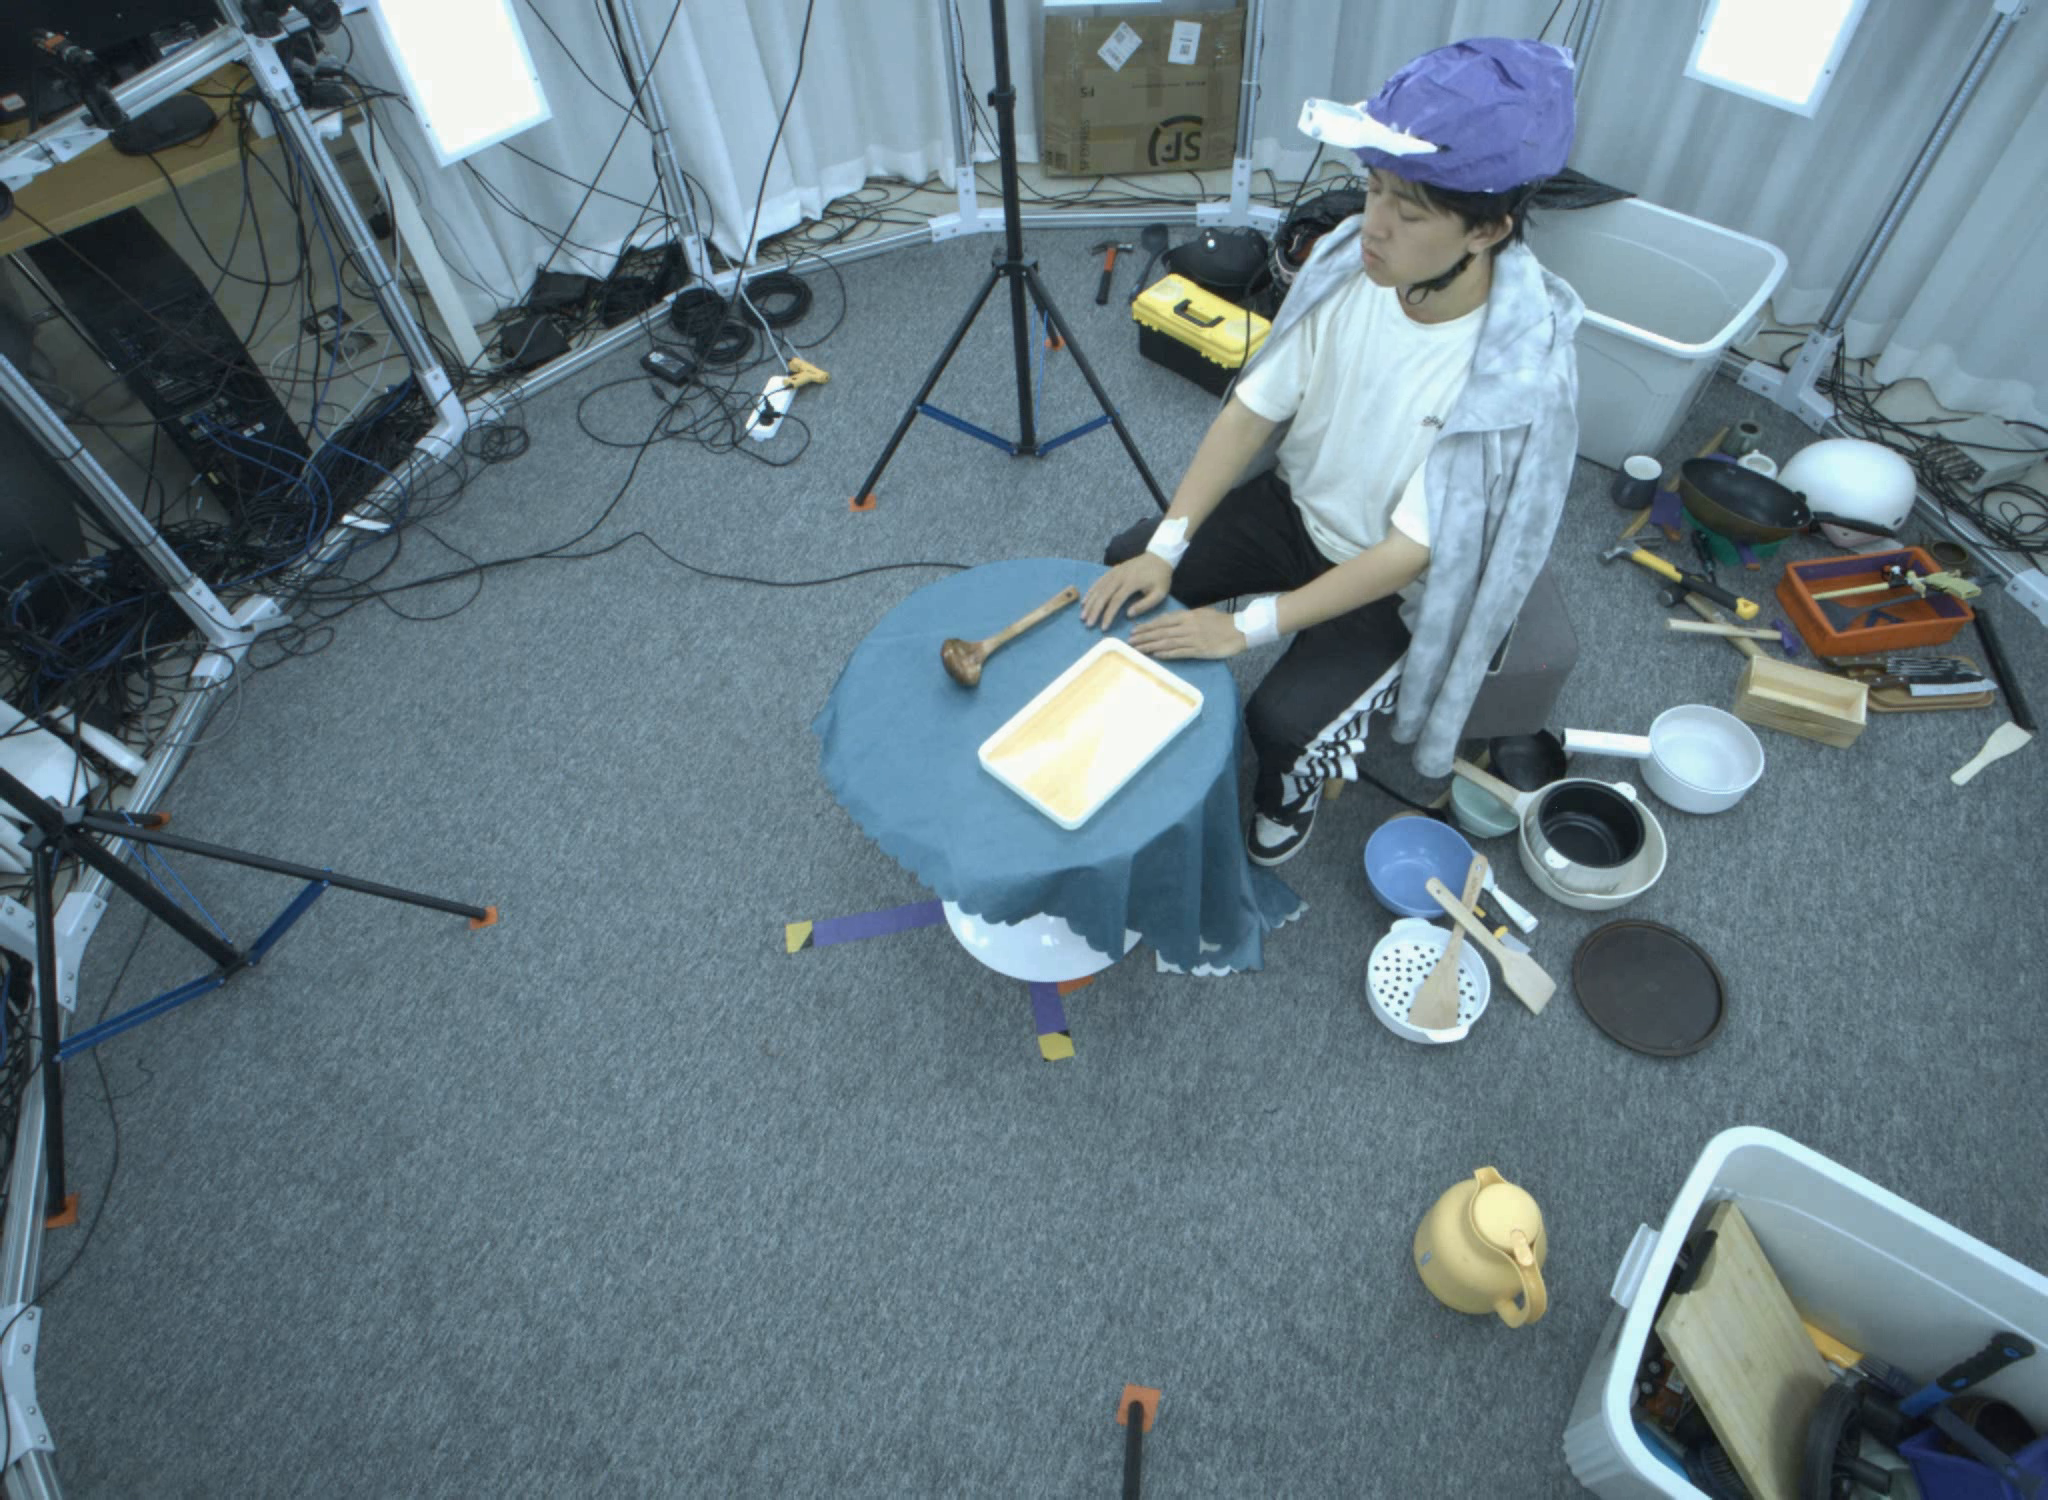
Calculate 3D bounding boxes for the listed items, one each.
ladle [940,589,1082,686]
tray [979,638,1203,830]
[{"bbox_3d":[-0.012,-0.187,1.879,0.276,0.075,0.082,-32,100,-20],"label":"ladle"},{"bbox_3d":[0.099,-0.029,1.790,0.188,0.028,0.302,37,63,24],"label":"tray"}]
